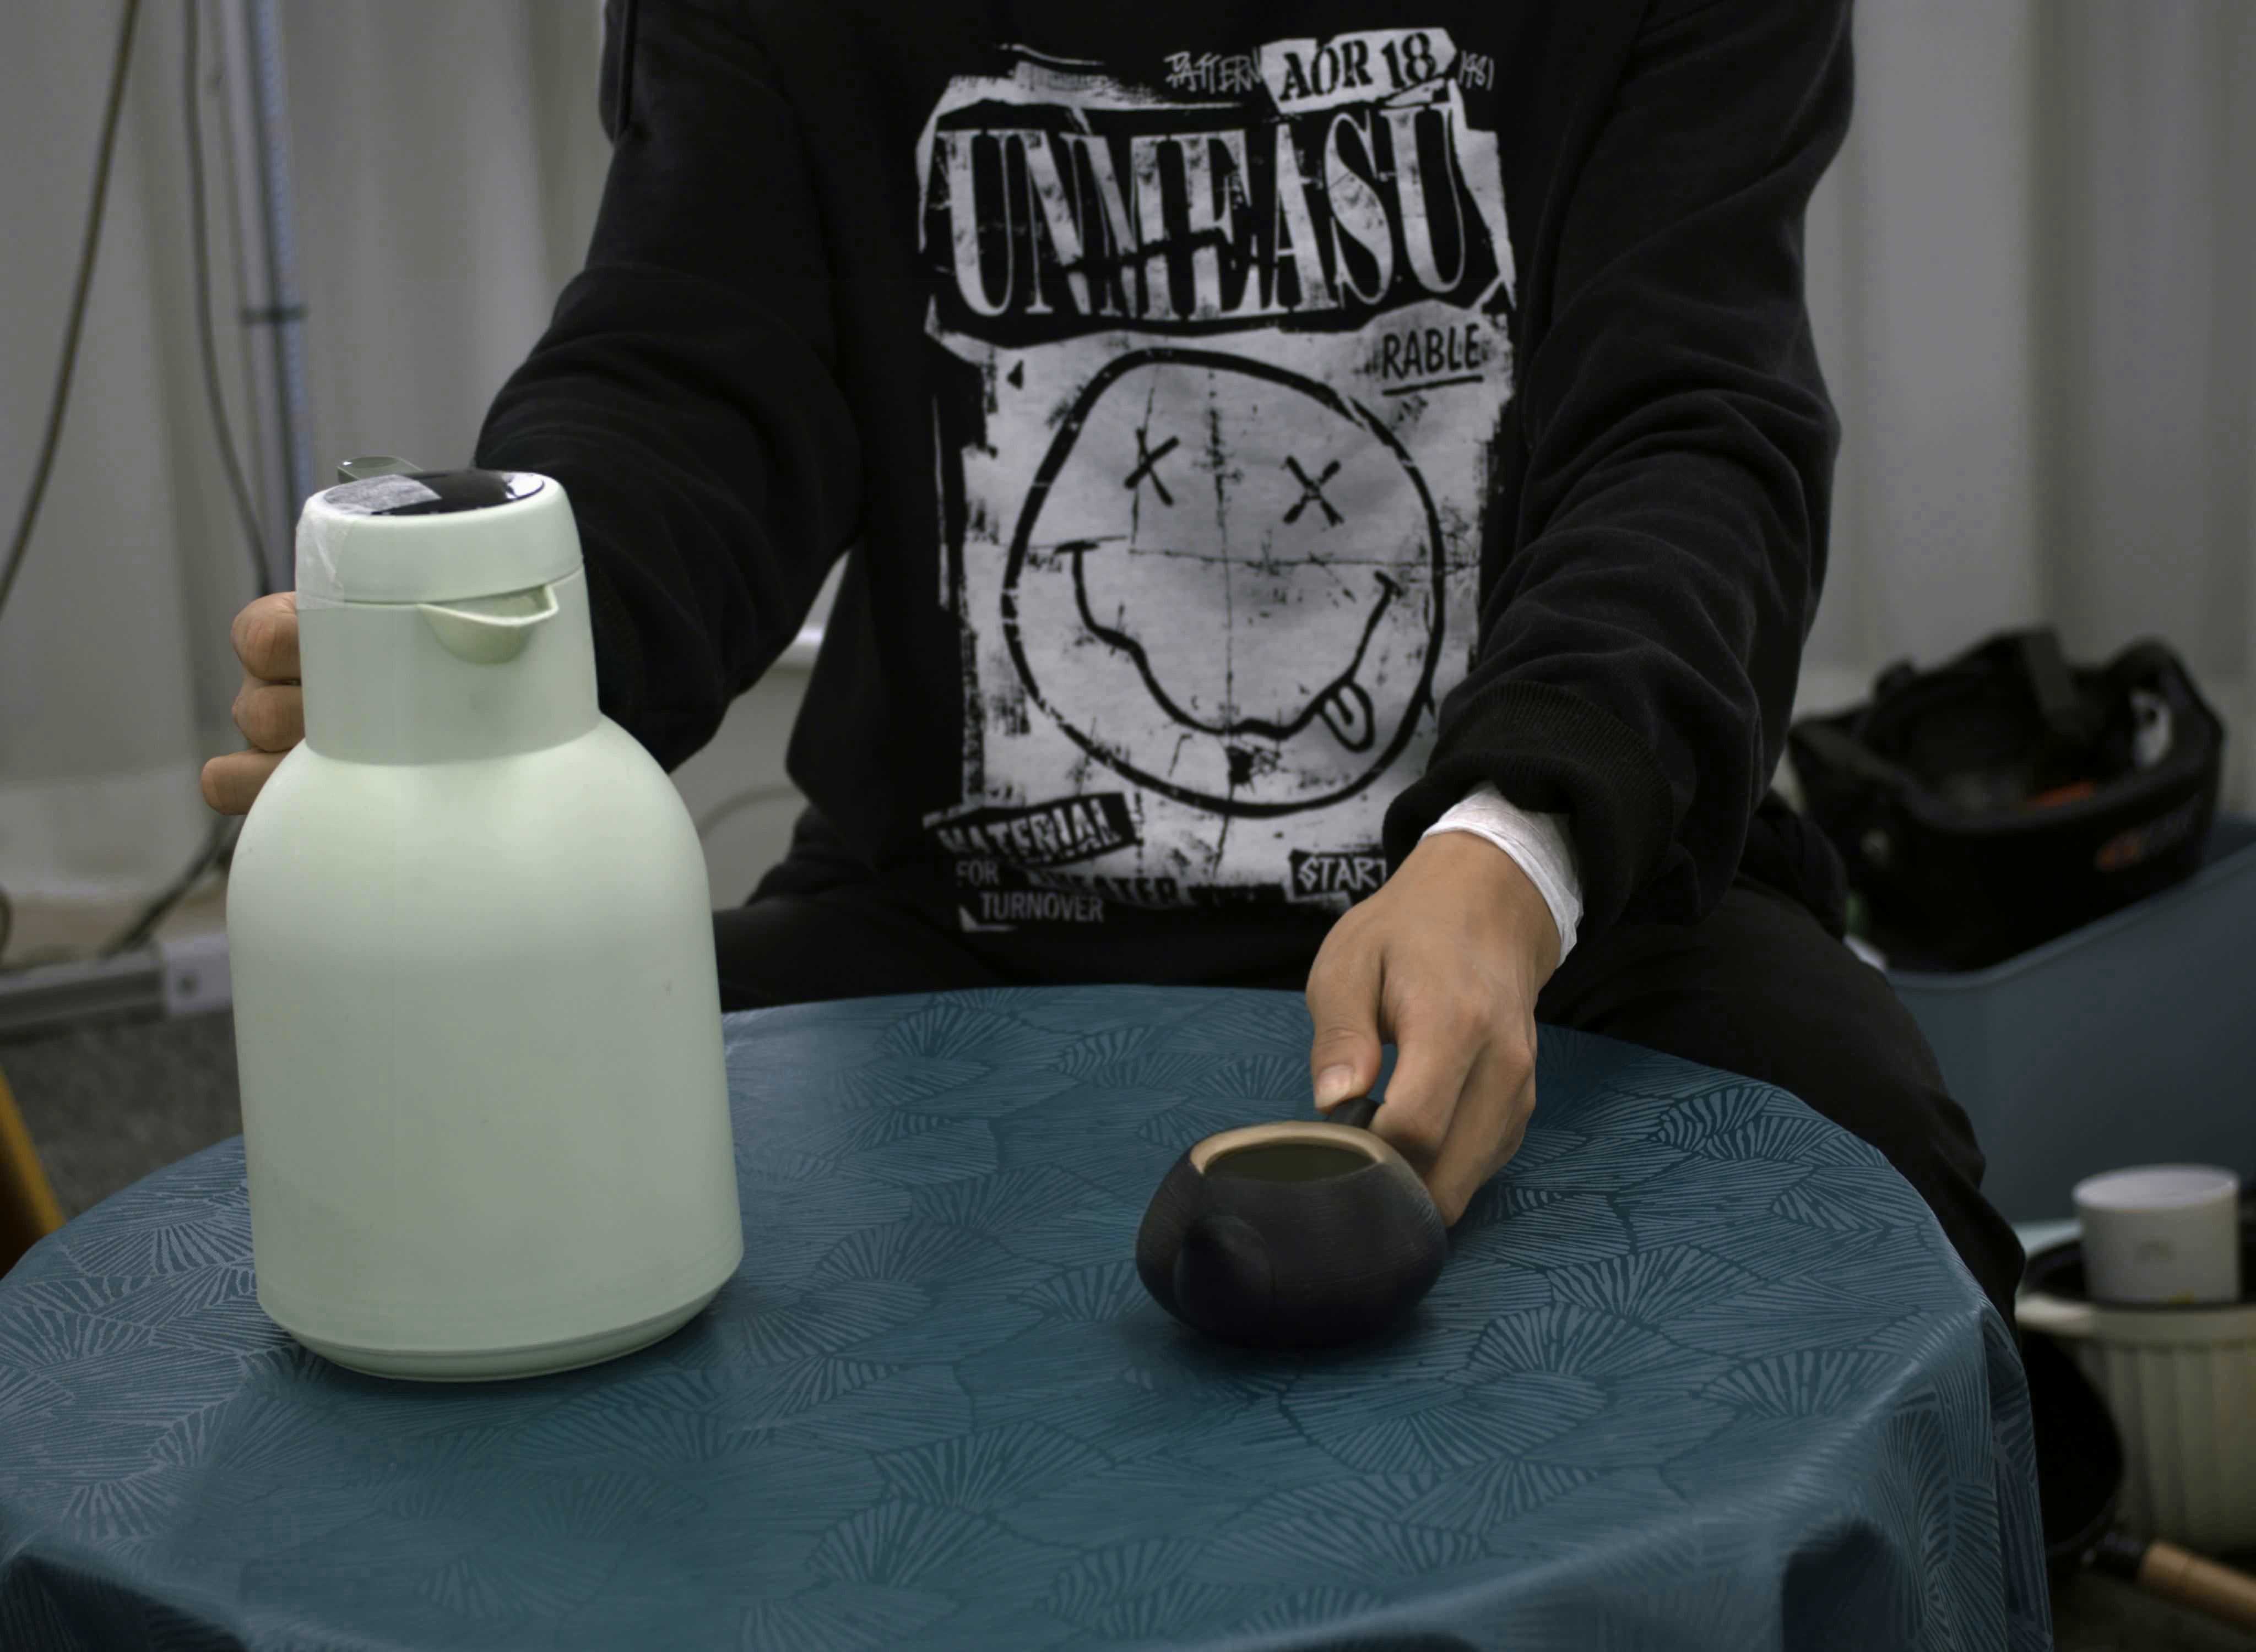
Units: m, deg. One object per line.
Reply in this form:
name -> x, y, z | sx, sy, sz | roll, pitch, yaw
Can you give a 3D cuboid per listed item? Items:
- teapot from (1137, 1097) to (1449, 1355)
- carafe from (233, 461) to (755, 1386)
teapot -> 0.048, 0.119, 1.584 | 0.091, 0.053, 0.133 | 6, 18, 26
carafe -> -0.198, 0.022, 1.617 | 0.143, 0.256, 0.188 | -11, 12, -25
